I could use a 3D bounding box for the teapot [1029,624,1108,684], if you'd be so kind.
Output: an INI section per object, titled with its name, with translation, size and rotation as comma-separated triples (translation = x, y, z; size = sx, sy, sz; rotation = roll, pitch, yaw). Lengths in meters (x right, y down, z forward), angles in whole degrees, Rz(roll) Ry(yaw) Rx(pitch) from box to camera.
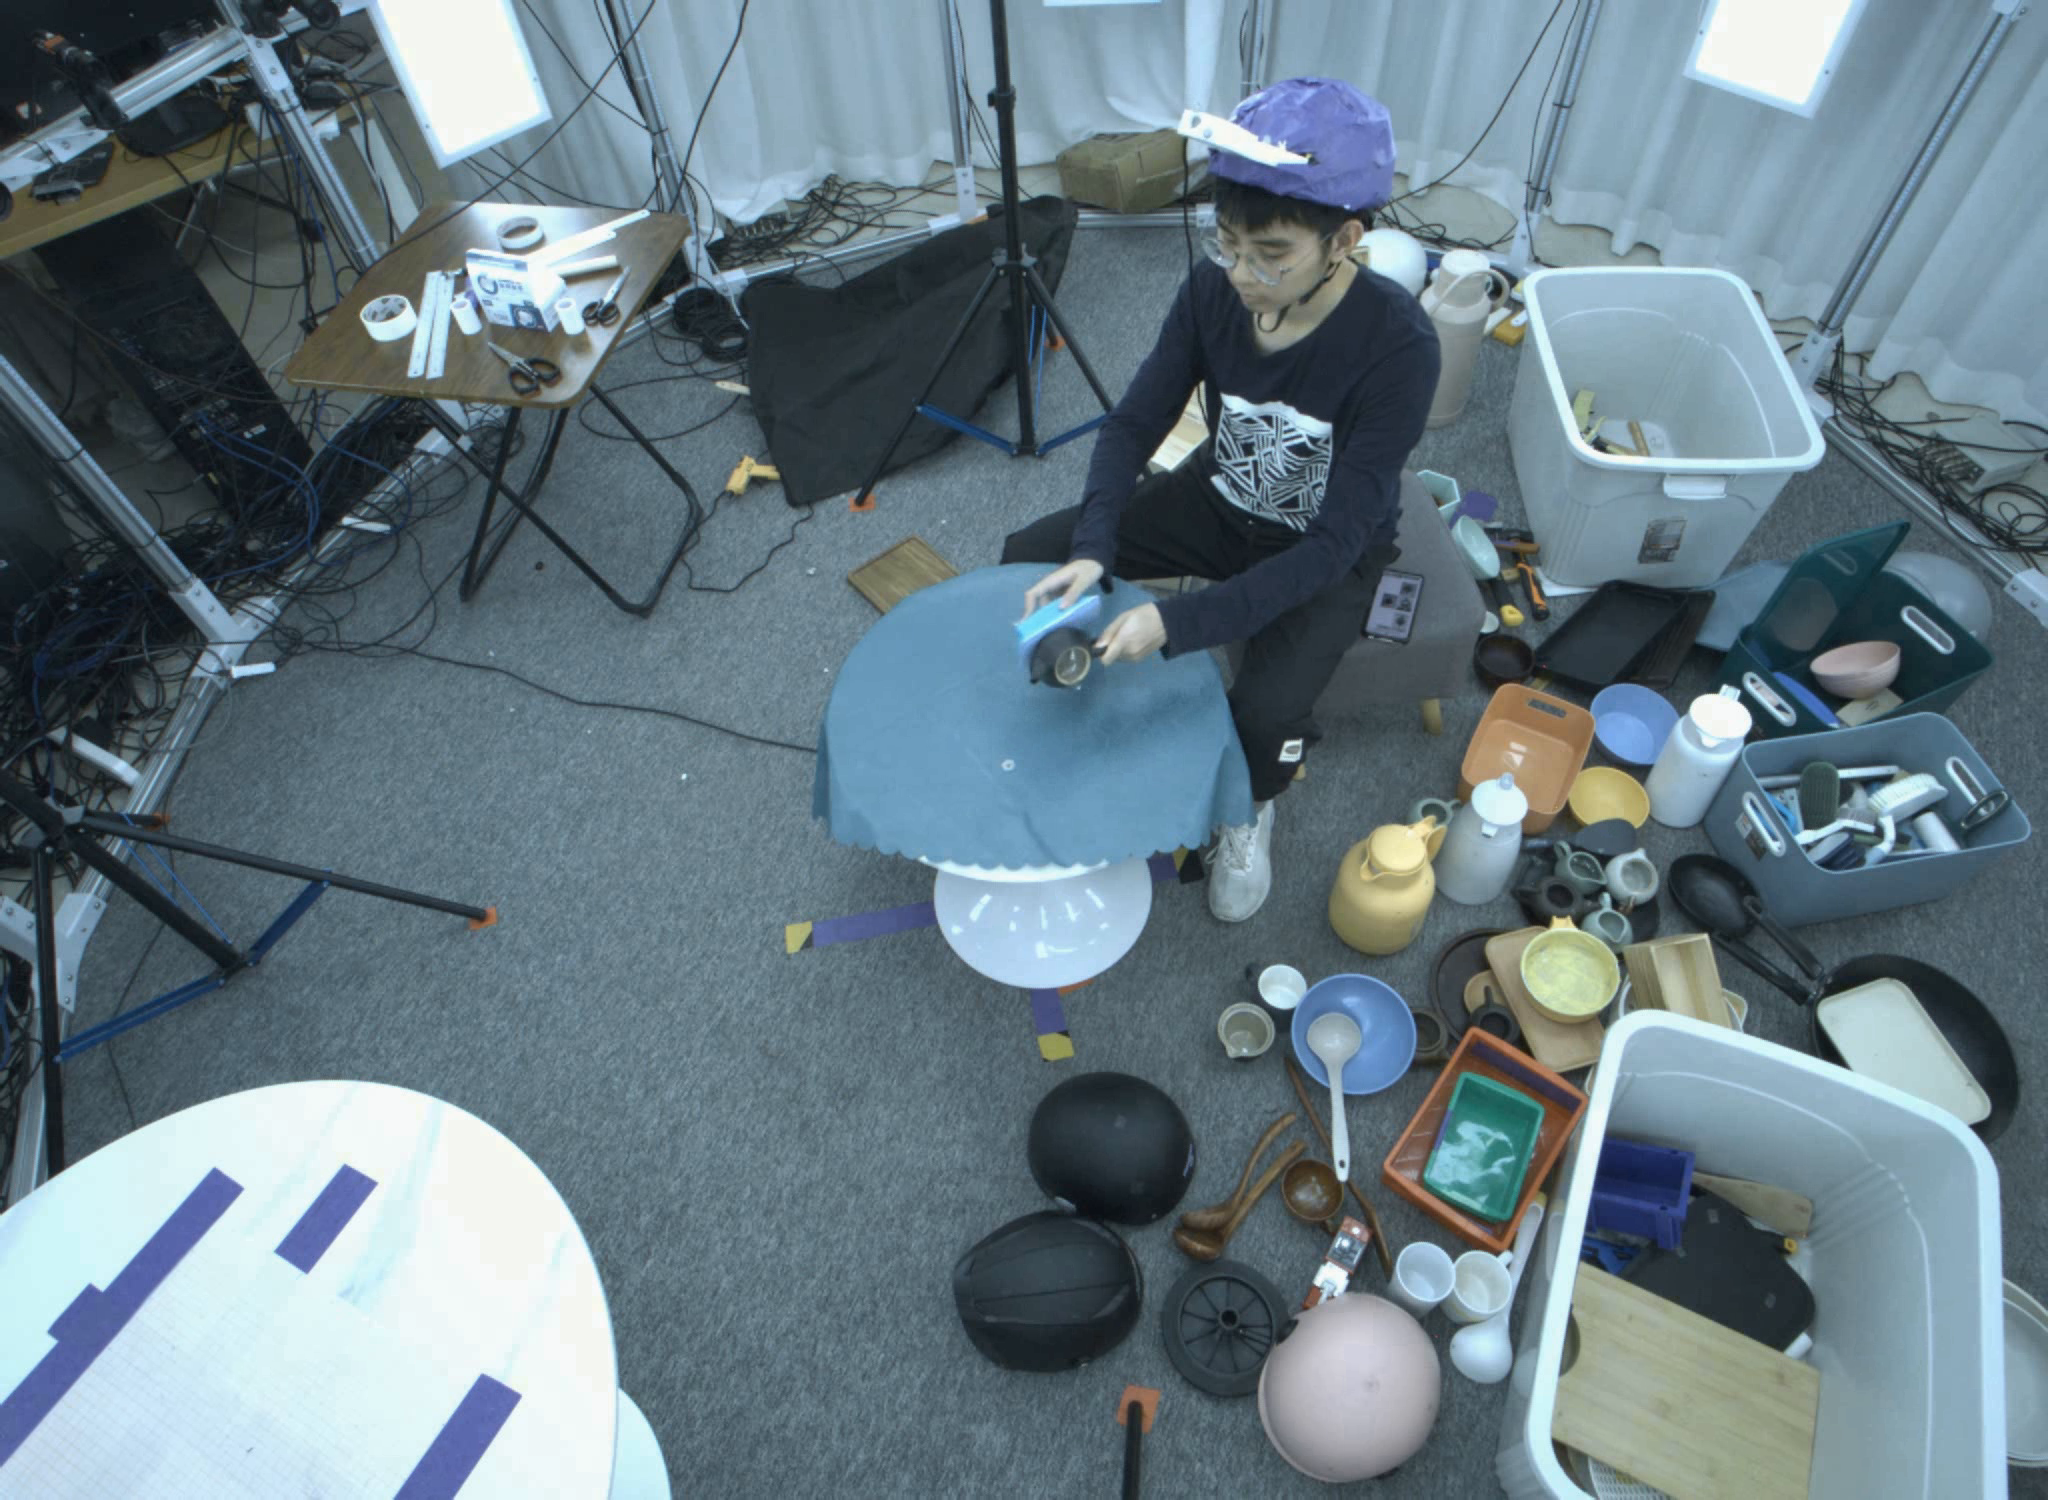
[teapot]
translation = 0.054, -0.133, 1.717
size = 0.134, 0.092, 0.052
rotation = -26, 49, -20

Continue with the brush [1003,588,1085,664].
[brush]
translation = 0.023, -0.183, 1.761
size = 0.056, 0.083, 0.145
rotation = 46, 53, 5
